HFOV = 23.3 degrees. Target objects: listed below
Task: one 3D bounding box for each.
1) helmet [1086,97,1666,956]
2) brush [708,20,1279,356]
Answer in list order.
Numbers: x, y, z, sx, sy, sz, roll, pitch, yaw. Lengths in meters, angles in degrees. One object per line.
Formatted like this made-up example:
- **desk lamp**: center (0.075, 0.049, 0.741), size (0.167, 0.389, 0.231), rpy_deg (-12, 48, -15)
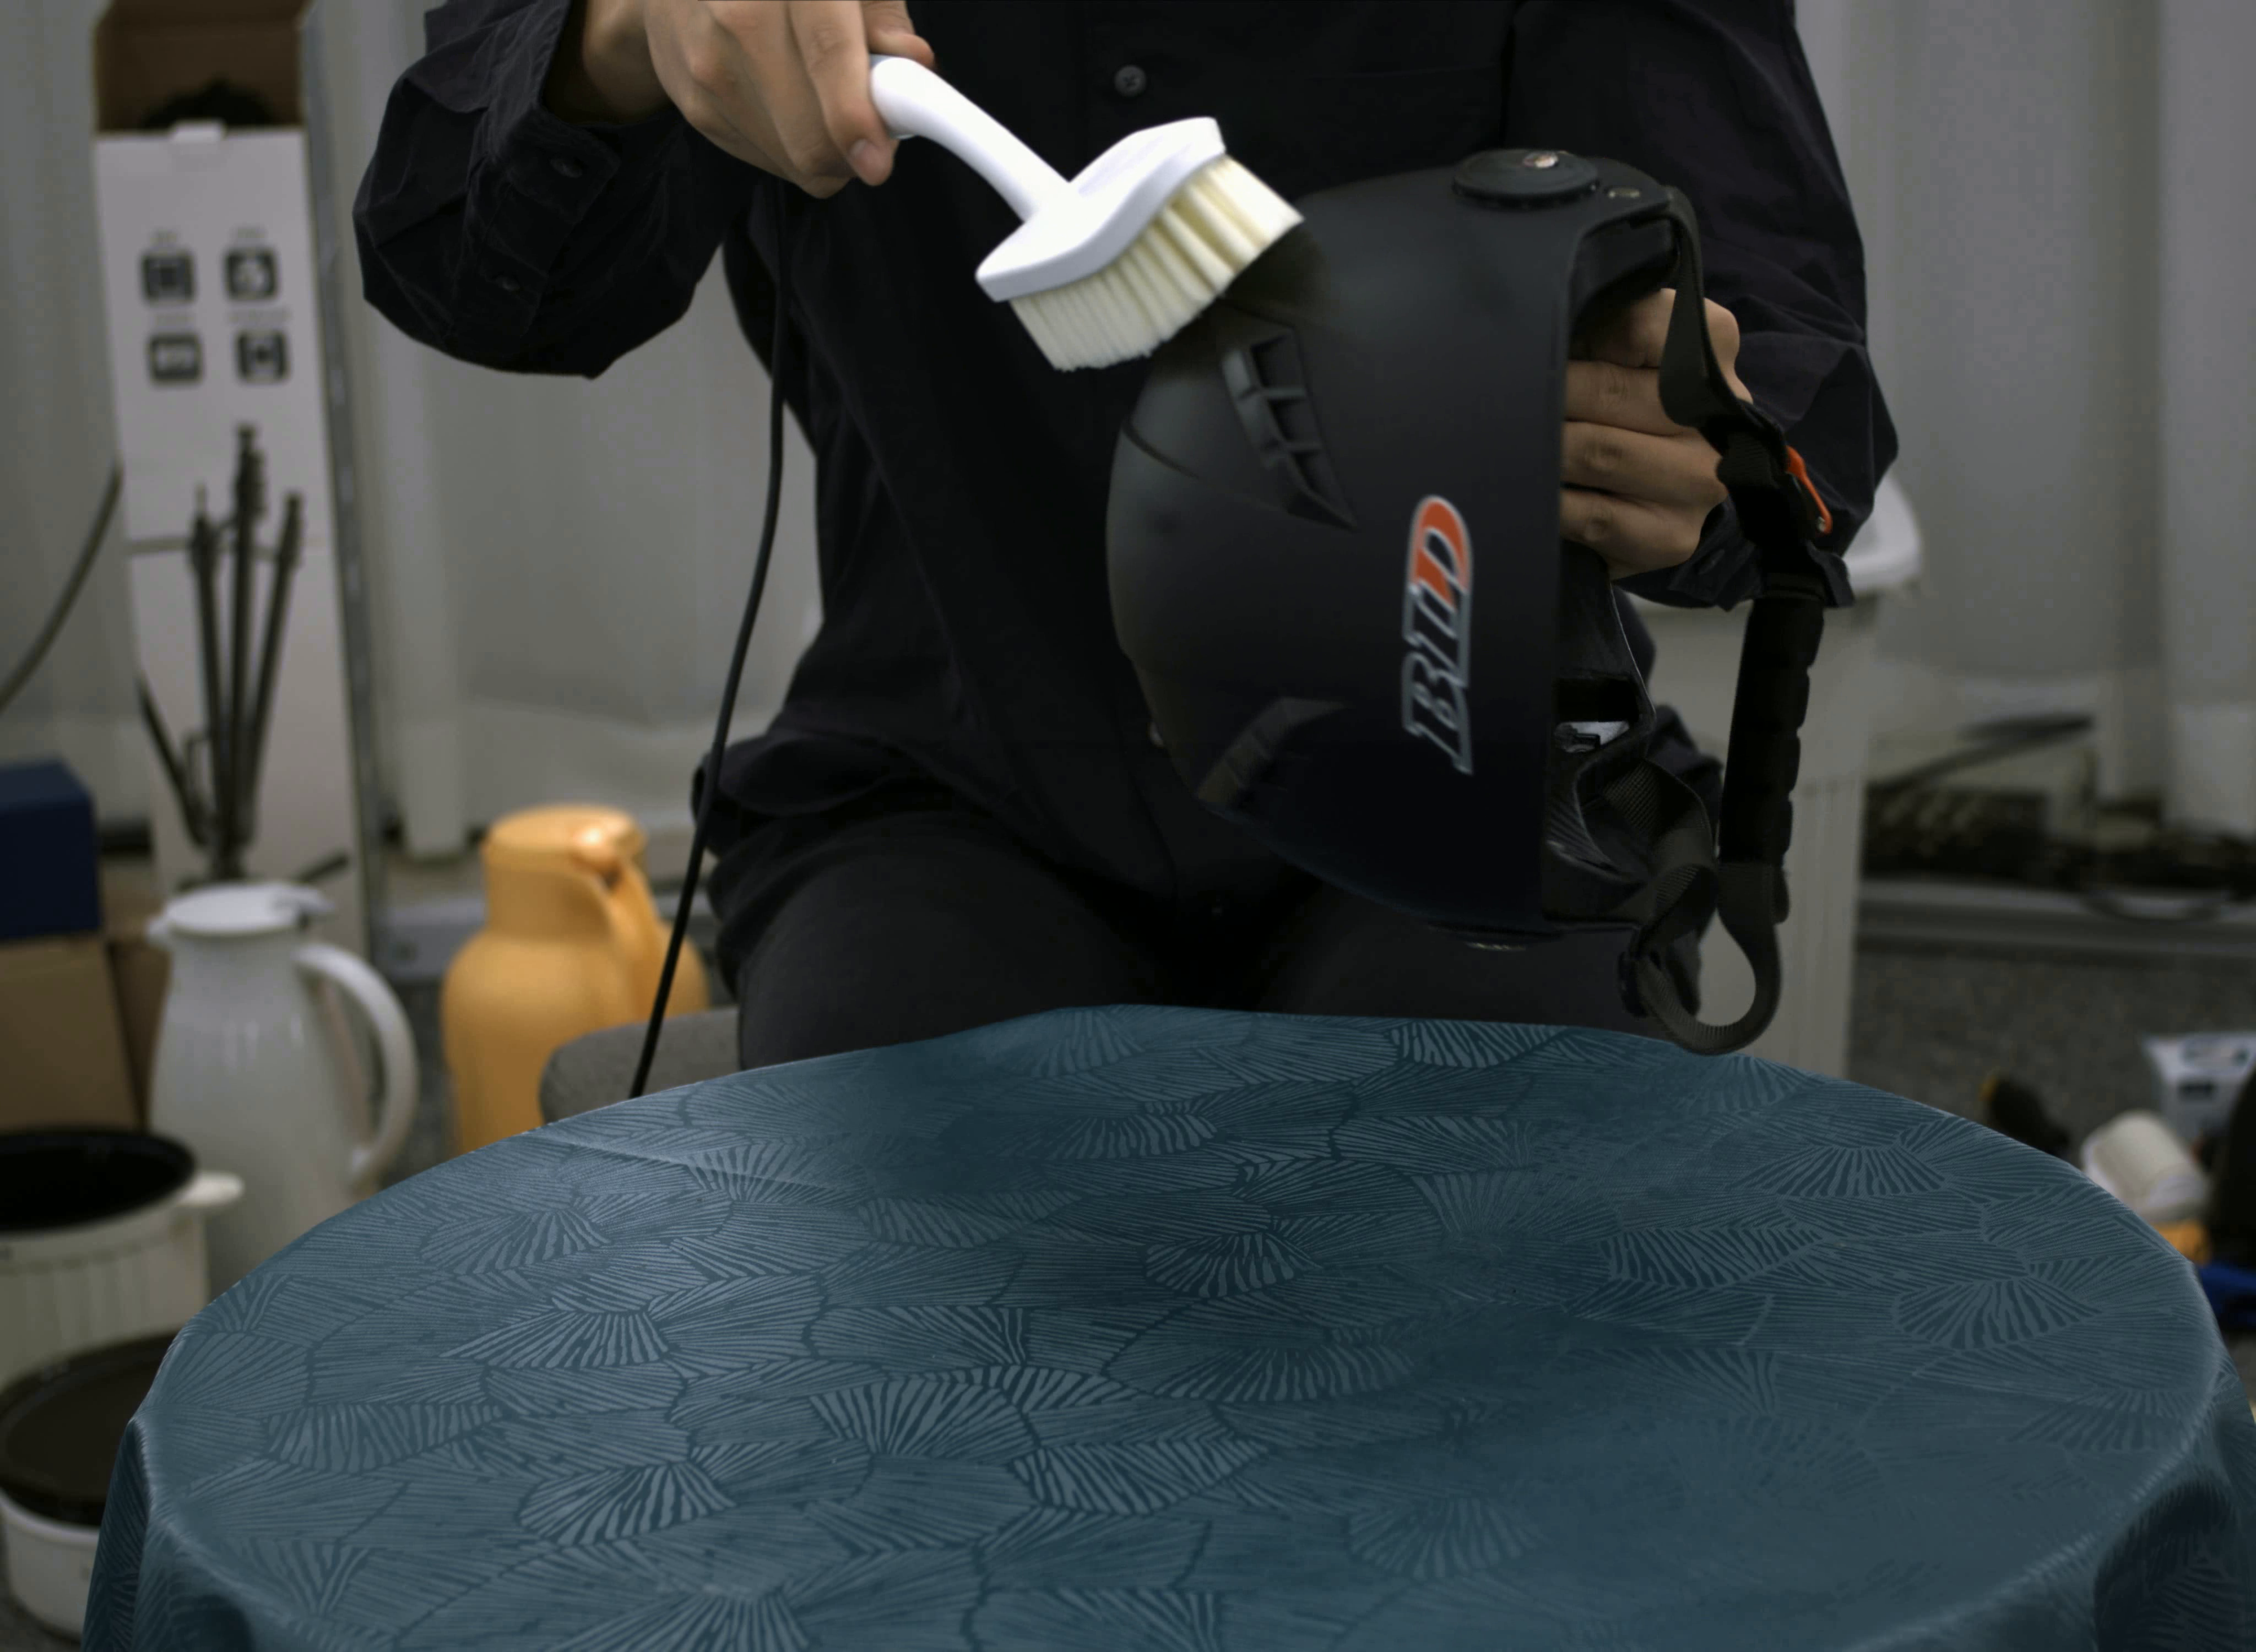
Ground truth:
- **helmet**: center (0.073, -0.089, 1.584), size (0.172, 0.246, 0.278), rpy_deg (2, 14, 6)
- **brush**: center (-0.037, -0.191, 1.648), size (0.082, 0.084, 0.328), rpy_deg (-5, 13, -25)
